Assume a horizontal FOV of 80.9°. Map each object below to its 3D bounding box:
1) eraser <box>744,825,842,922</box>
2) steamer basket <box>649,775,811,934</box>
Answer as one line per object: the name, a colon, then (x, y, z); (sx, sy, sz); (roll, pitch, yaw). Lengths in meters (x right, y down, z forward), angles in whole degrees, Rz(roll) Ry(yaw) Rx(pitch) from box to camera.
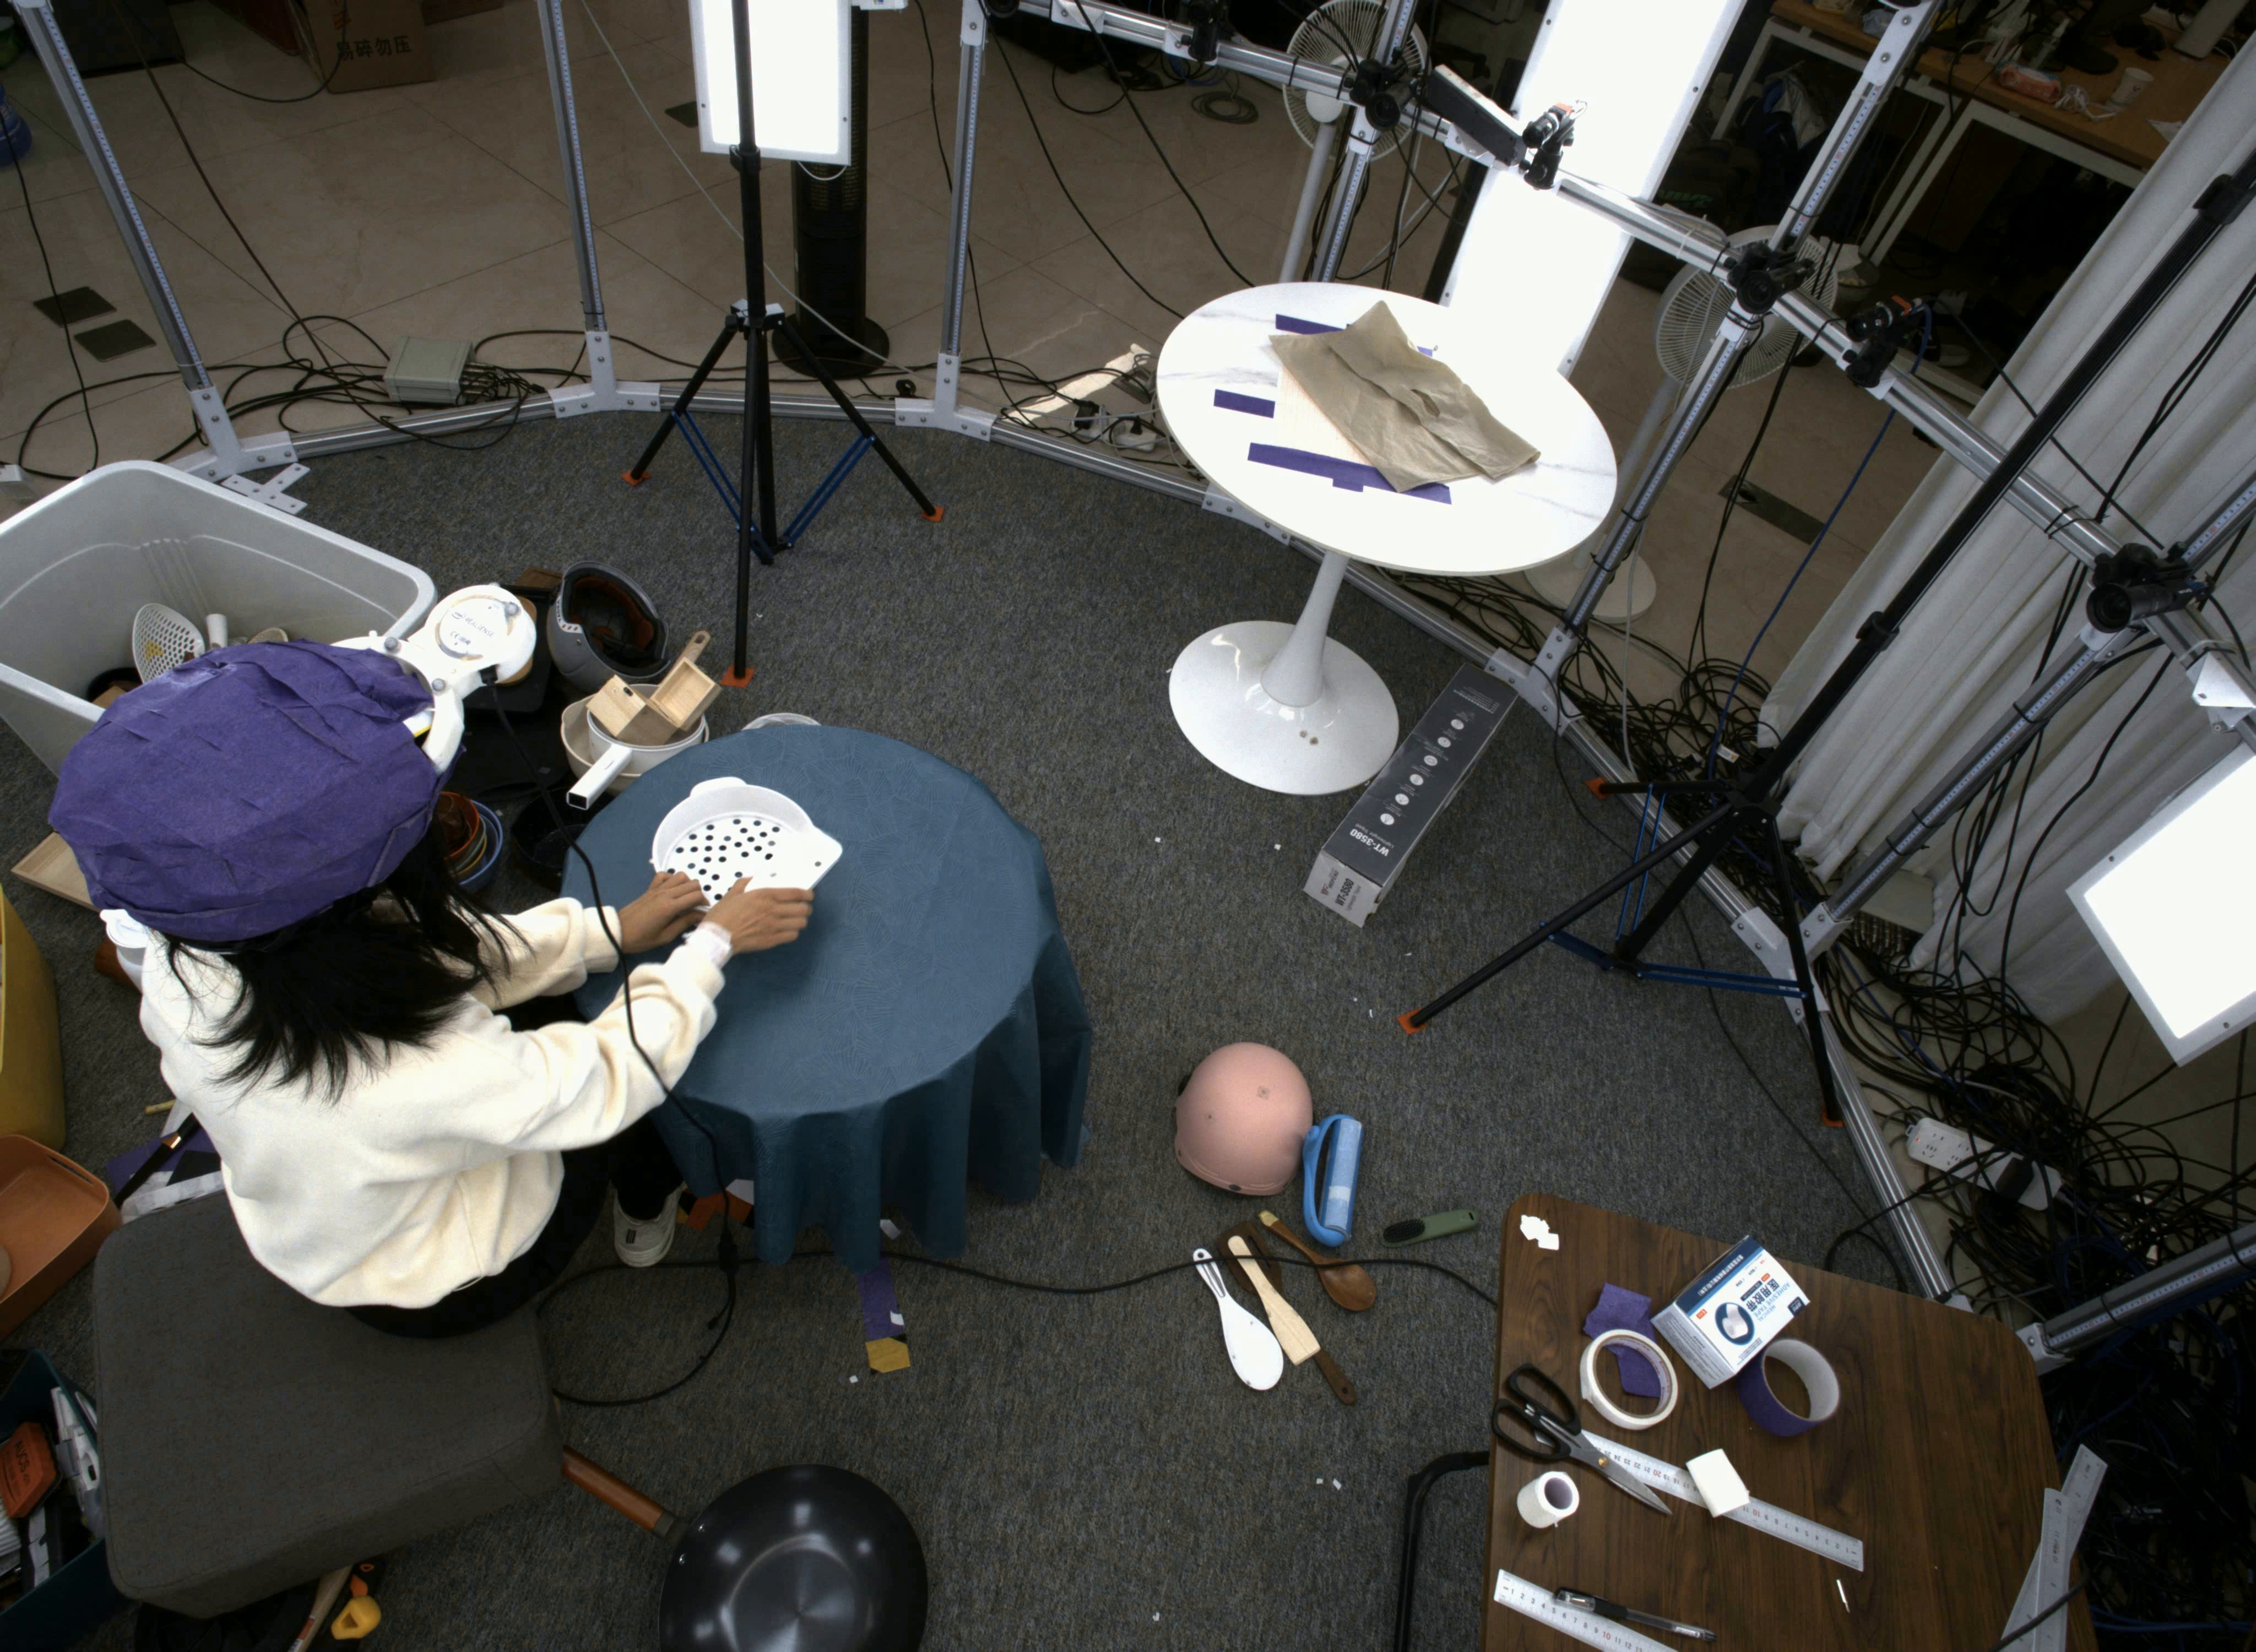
eraser: (-0.408, 0.054, 1.576); (0.063, 0.035, 0.131); (35, 54, 4)
steamer basket: (-0.496, 0.040, 1.626); (0.203, 0.071, 0.224); (-14, 57, -23)
